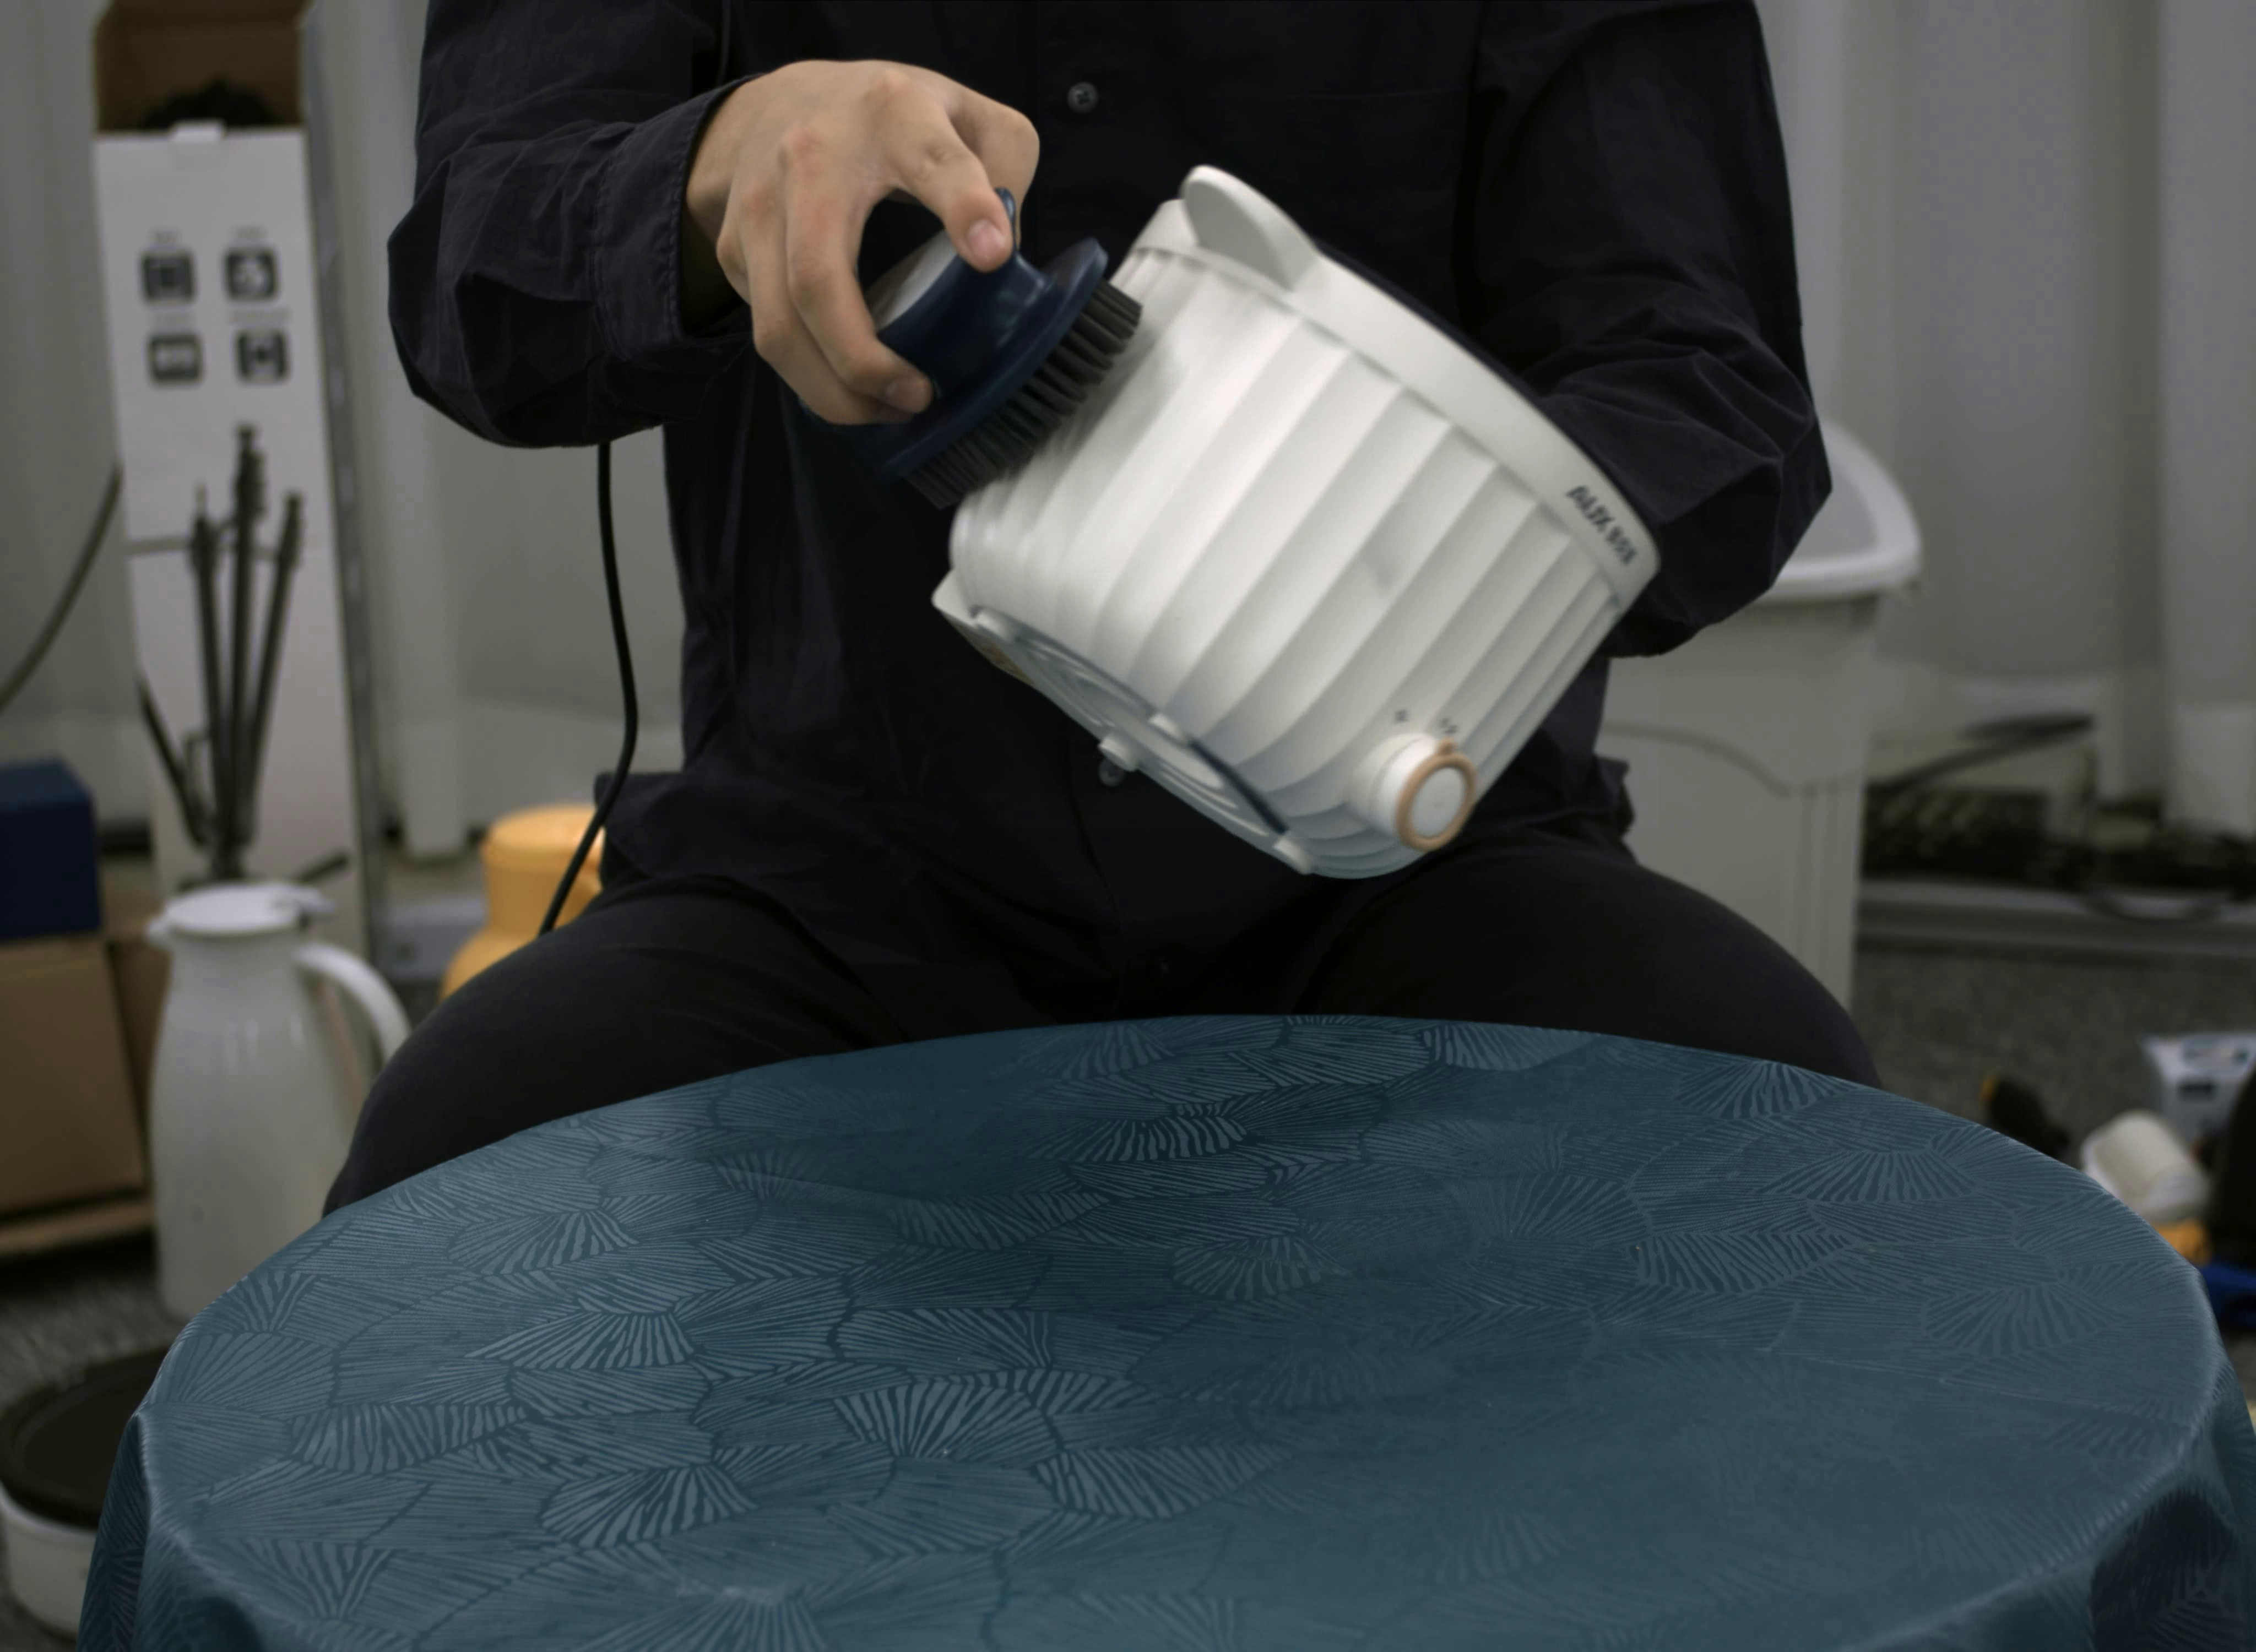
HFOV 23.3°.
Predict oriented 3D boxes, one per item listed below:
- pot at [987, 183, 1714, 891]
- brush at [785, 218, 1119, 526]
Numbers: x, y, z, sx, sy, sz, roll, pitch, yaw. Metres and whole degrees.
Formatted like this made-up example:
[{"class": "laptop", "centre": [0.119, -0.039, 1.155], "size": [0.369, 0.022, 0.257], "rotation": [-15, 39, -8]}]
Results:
[{"class": "pot", "centre": [0.065, -0.071, 1.613], "size": [0.192, 0.143, 0.237], "rotation": [27, -11, 39]}, {"class": "brush", "centre": [-0.050, -0.128, 1.584], "size": [0.061, 0.068, 0.121], "rotation": [35, -23, -16]}]
